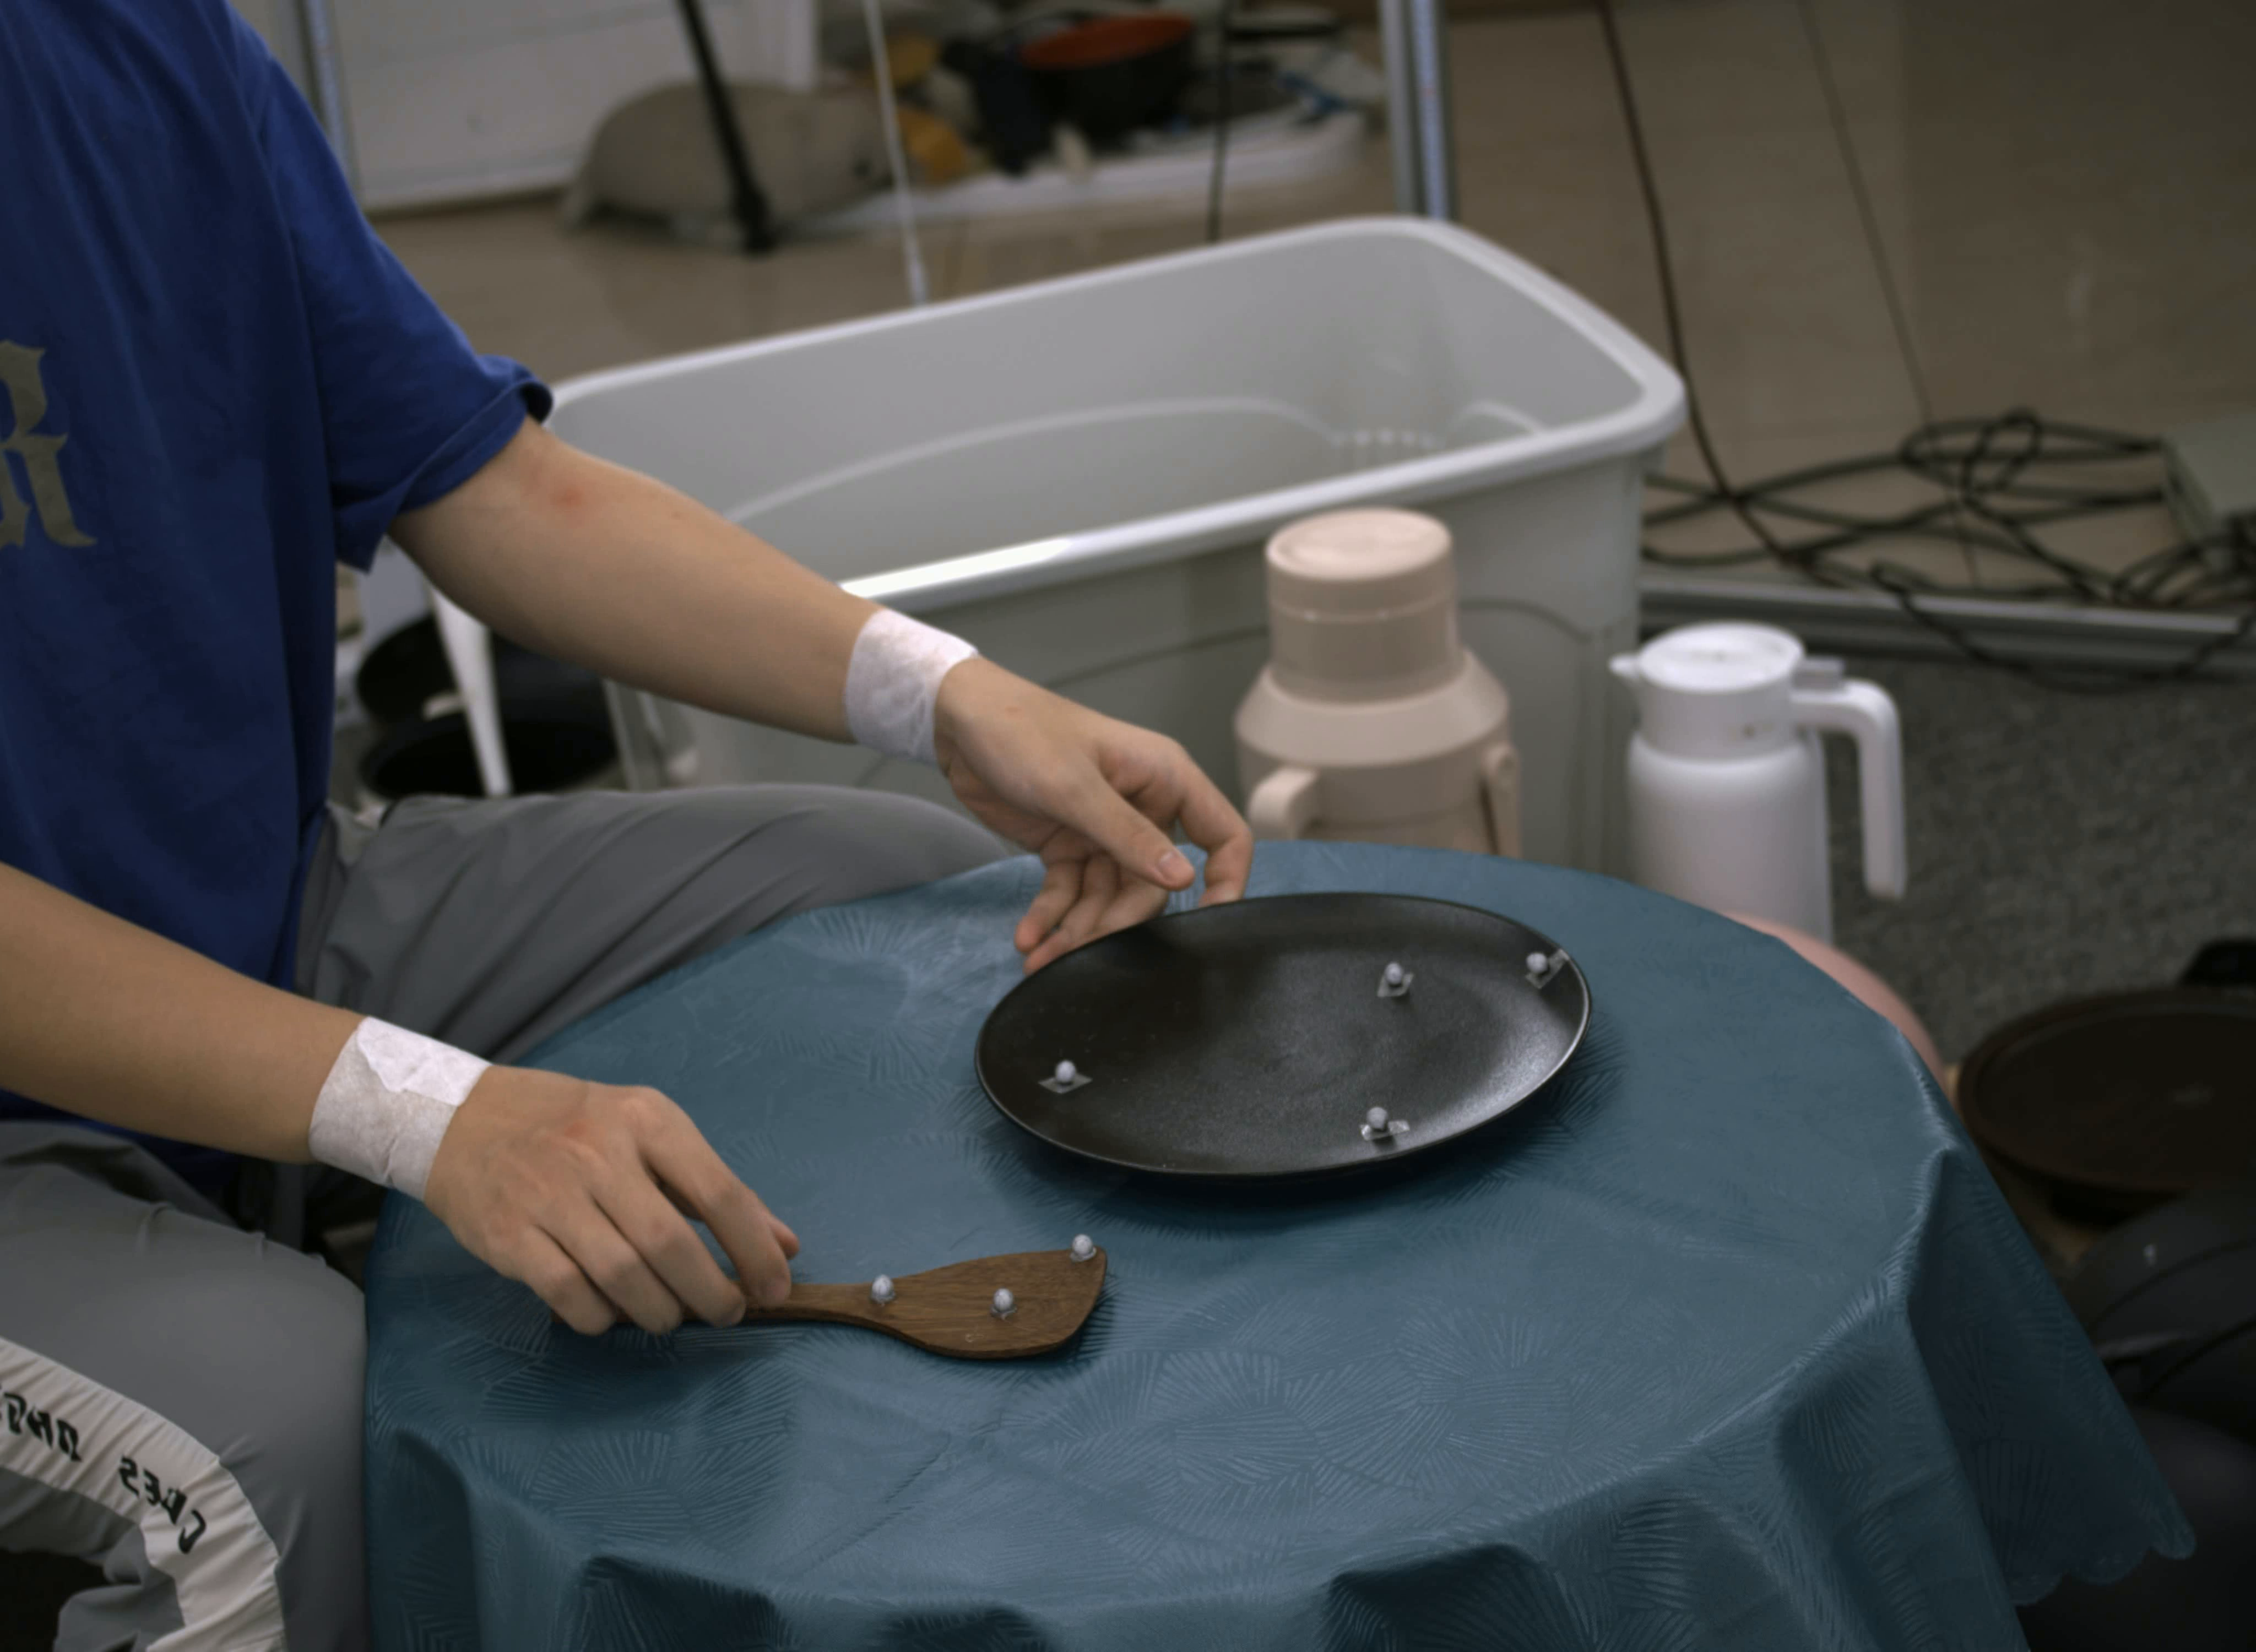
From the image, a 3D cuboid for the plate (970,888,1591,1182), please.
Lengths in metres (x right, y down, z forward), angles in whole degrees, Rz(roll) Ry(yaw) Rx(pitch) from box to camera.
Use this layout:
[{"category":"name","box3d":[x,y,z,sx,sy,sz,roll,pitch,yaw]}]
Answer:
[{"category":"plate","box3d":[0.060,0.086,2.217,0.244,0.024,0.241,-5,25,3]}]

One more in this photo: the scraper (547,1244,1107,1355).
[{"category":"scraper","box3d":[-0.112,0.175,2.088,0.211,0.011,0.075,-1,24,14]}]
